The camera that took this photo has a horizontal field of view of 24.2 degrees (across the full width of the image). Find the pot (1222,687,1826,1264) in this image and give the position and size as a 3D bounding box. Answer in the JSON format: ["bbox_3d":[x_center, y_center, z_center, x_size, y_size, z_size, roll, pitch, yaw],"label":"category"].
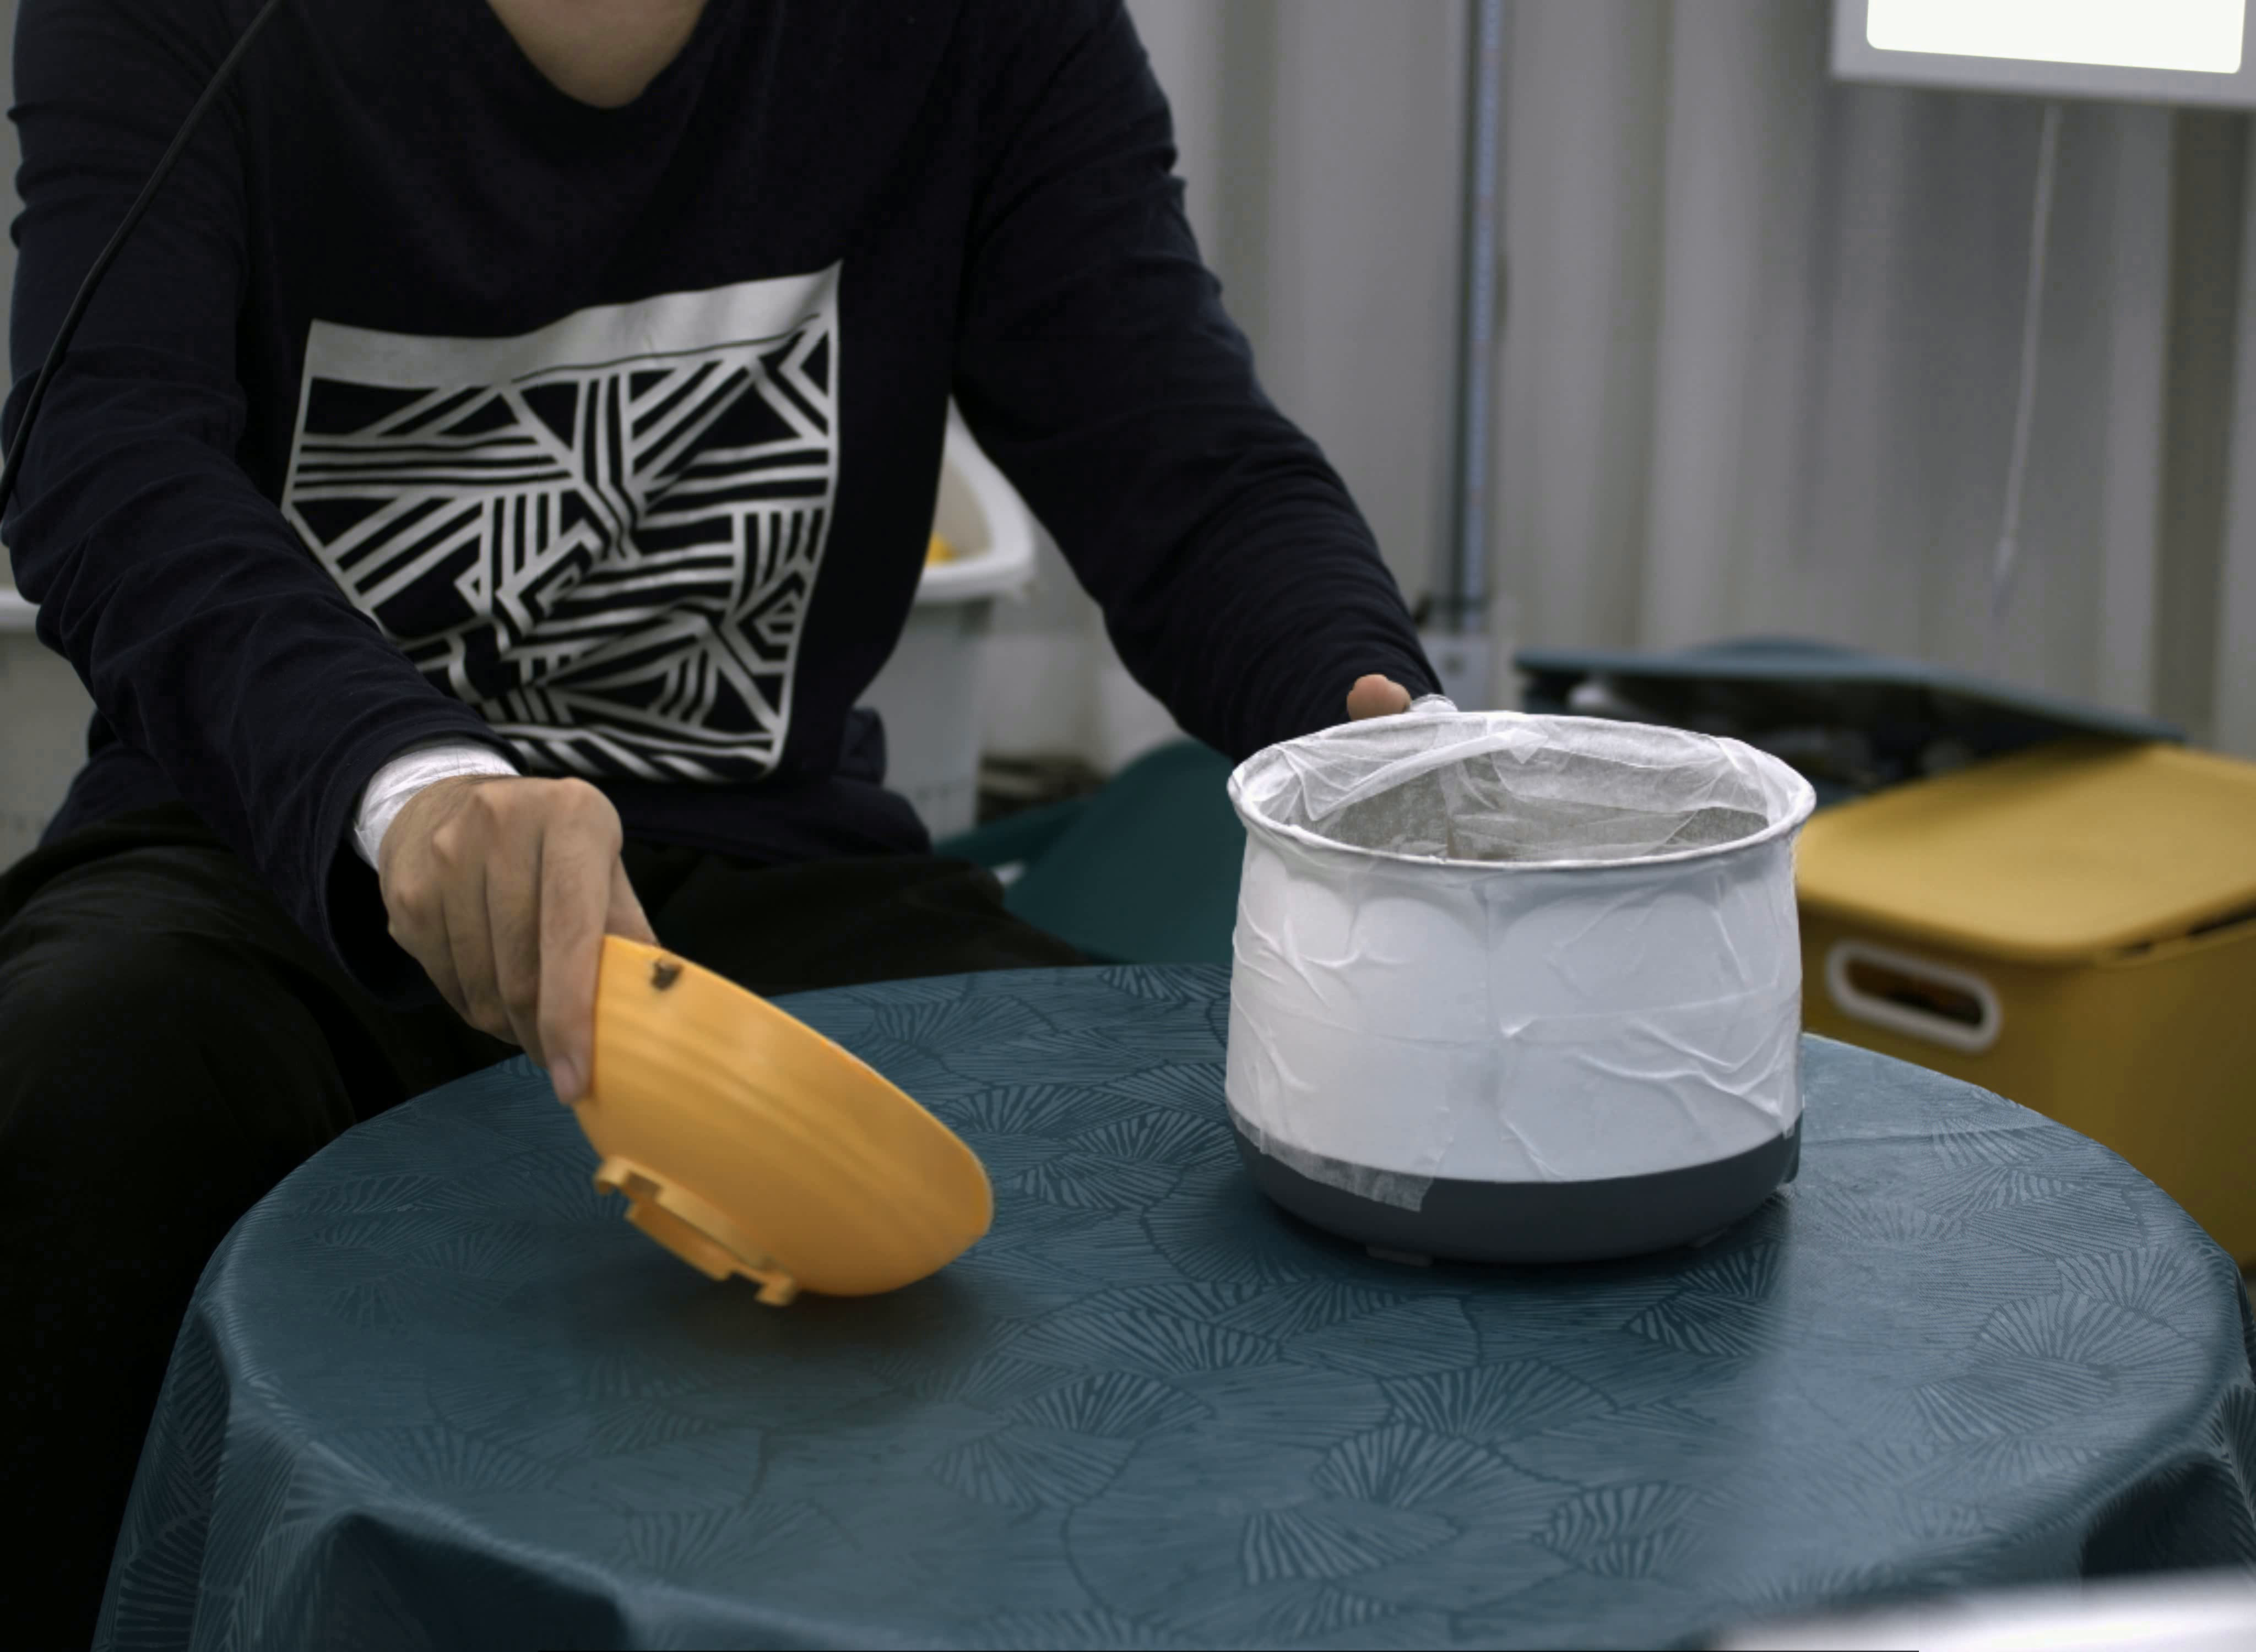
[{"bbox_3d":[0.111,0.041,1.627,0.179,0.137,0.231,-1,16,-14],"label":"pot"}]

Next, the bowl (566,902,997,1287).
[{"bbox_3d":[-0.111,0.089,1.508,0.144,0.060,0.146,35,-11,9],"label":"bowl"}]
